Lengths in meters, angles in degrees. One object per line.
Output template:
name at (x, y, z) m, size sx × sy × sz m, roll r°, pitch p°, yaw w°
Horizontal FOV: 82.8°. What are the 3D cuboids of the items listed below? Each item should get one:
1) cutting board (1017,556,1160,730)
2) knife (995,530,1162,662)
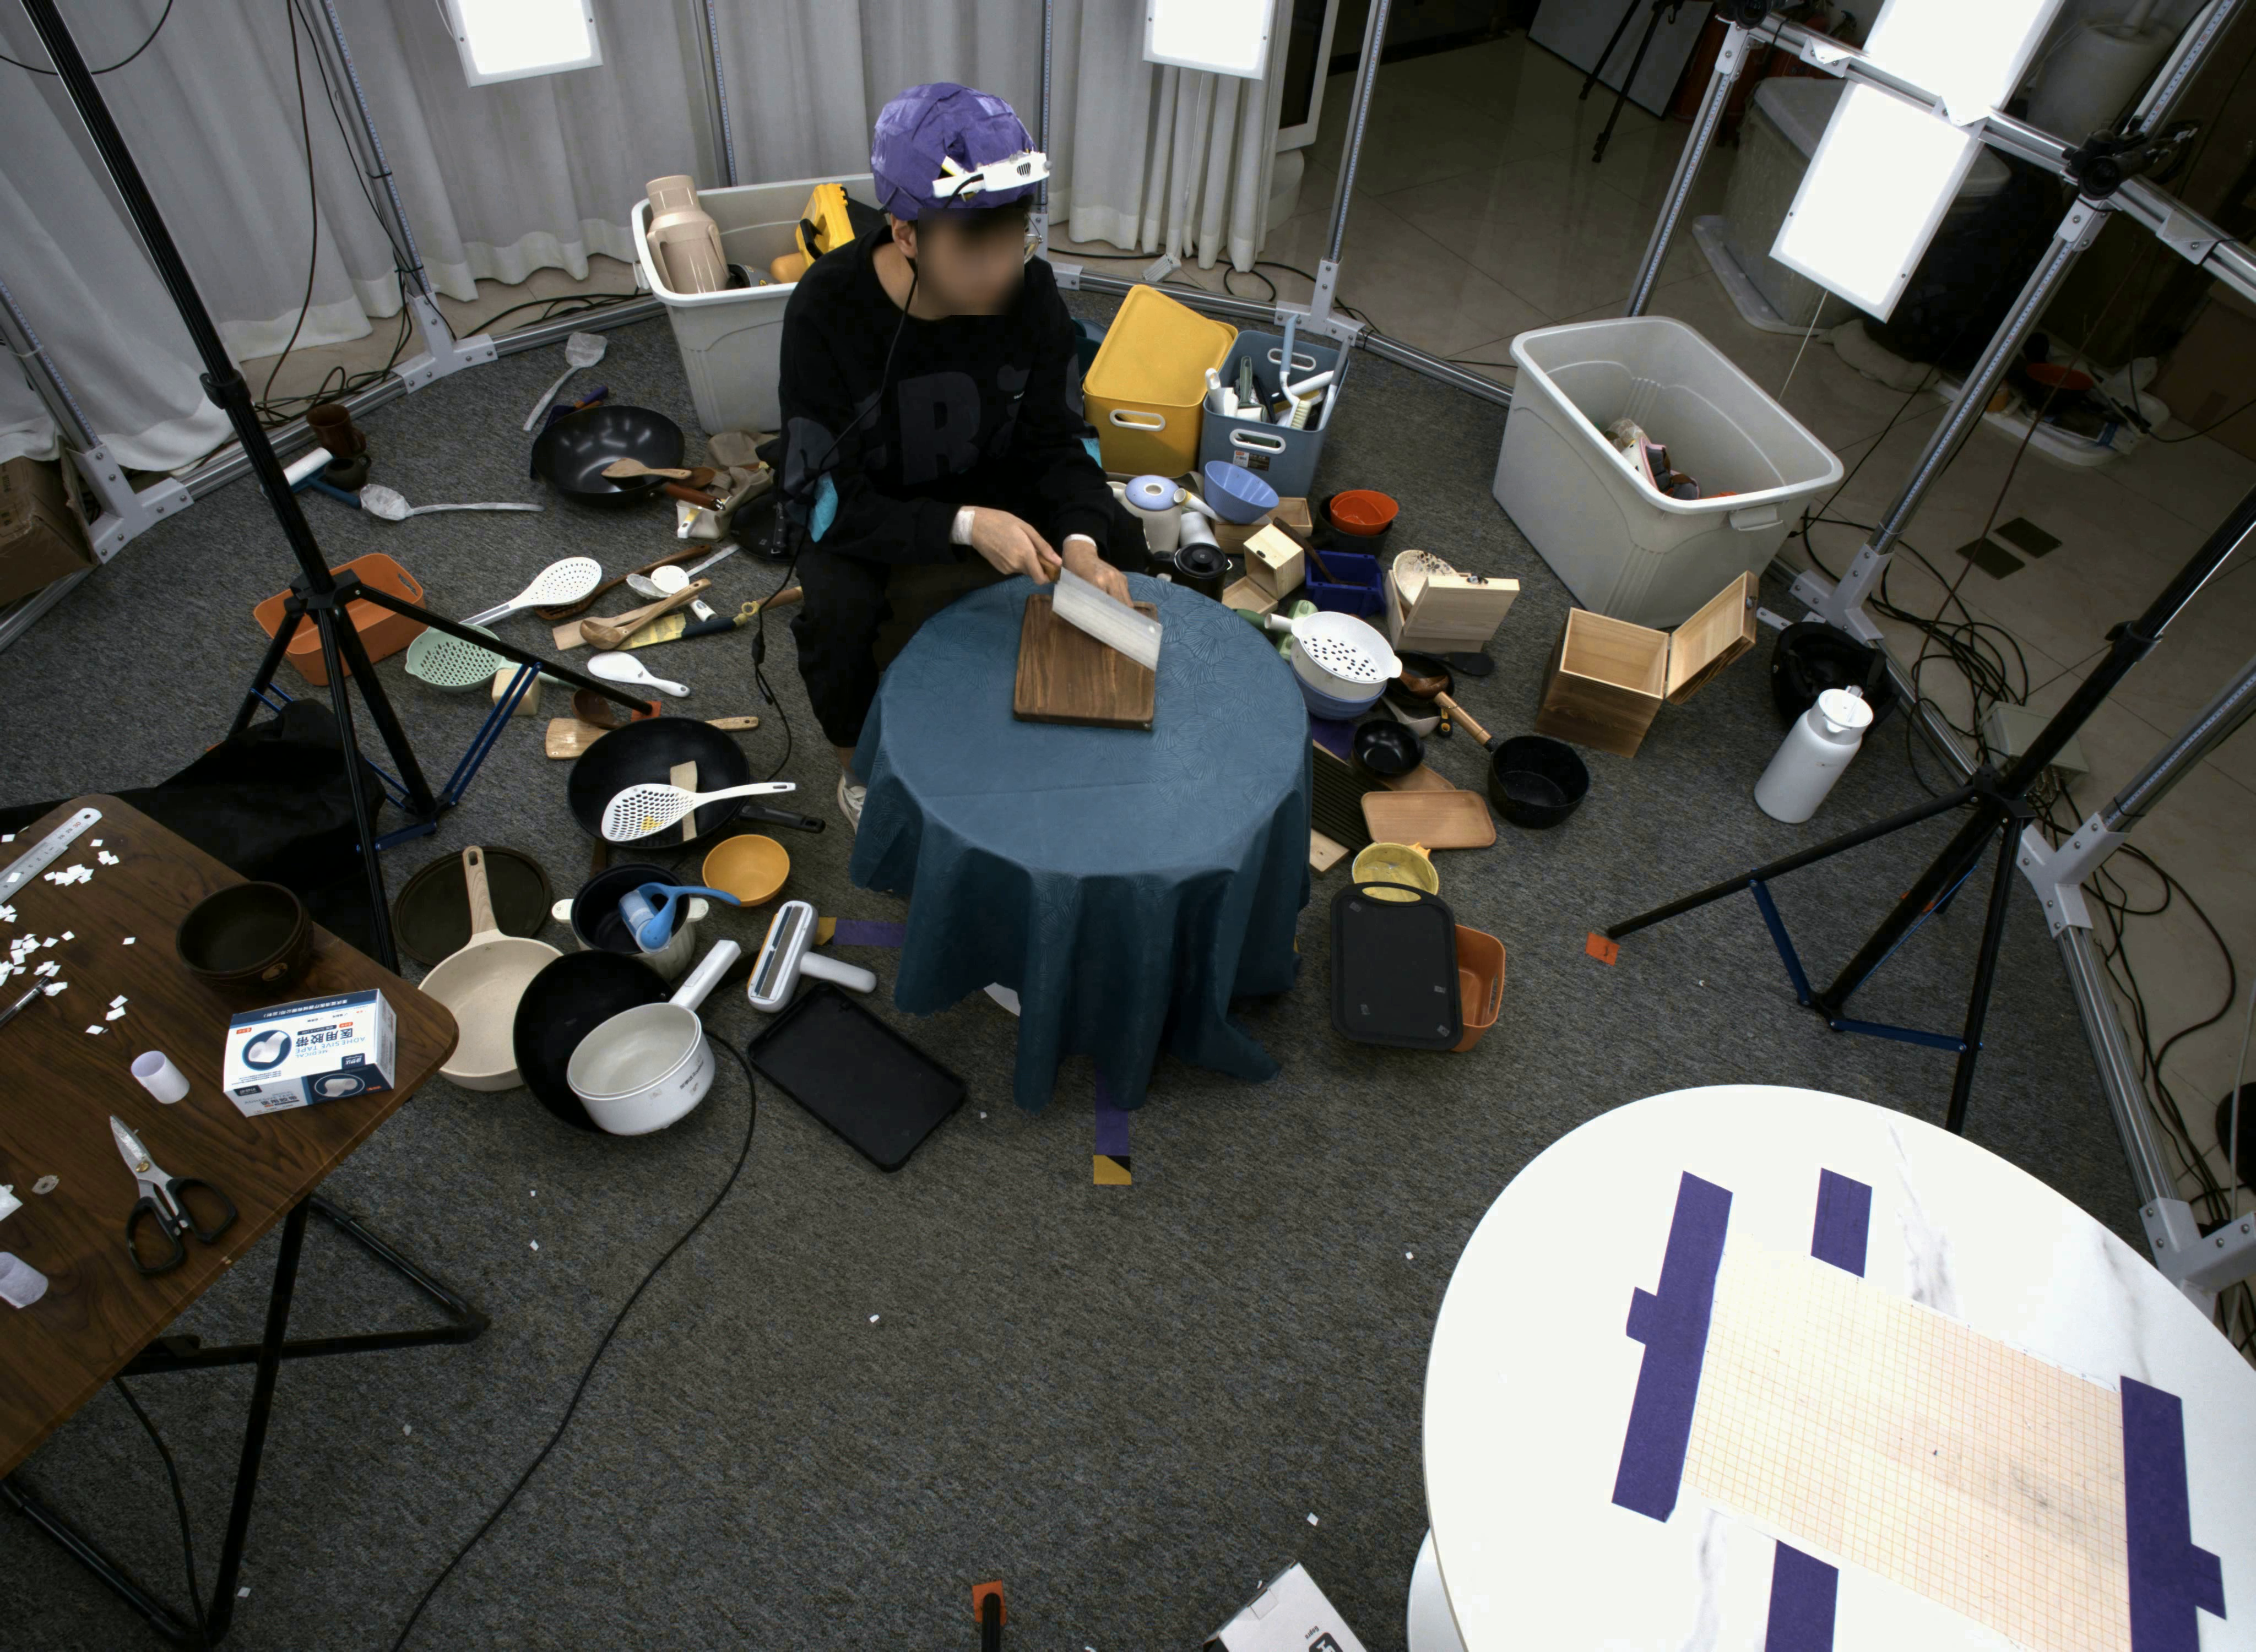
cutting board at (-0.052, -0.279, 1.894) m, size 0.201 × 0.022 × 0.361 m, roll 4°, pitch 49°, yaw -1°
knife at (-0.073, -0.327, 1.855) m, size 0.309 × 0.091 × 0.021 m, roll 34°, pitch 55°, yaw 21°
